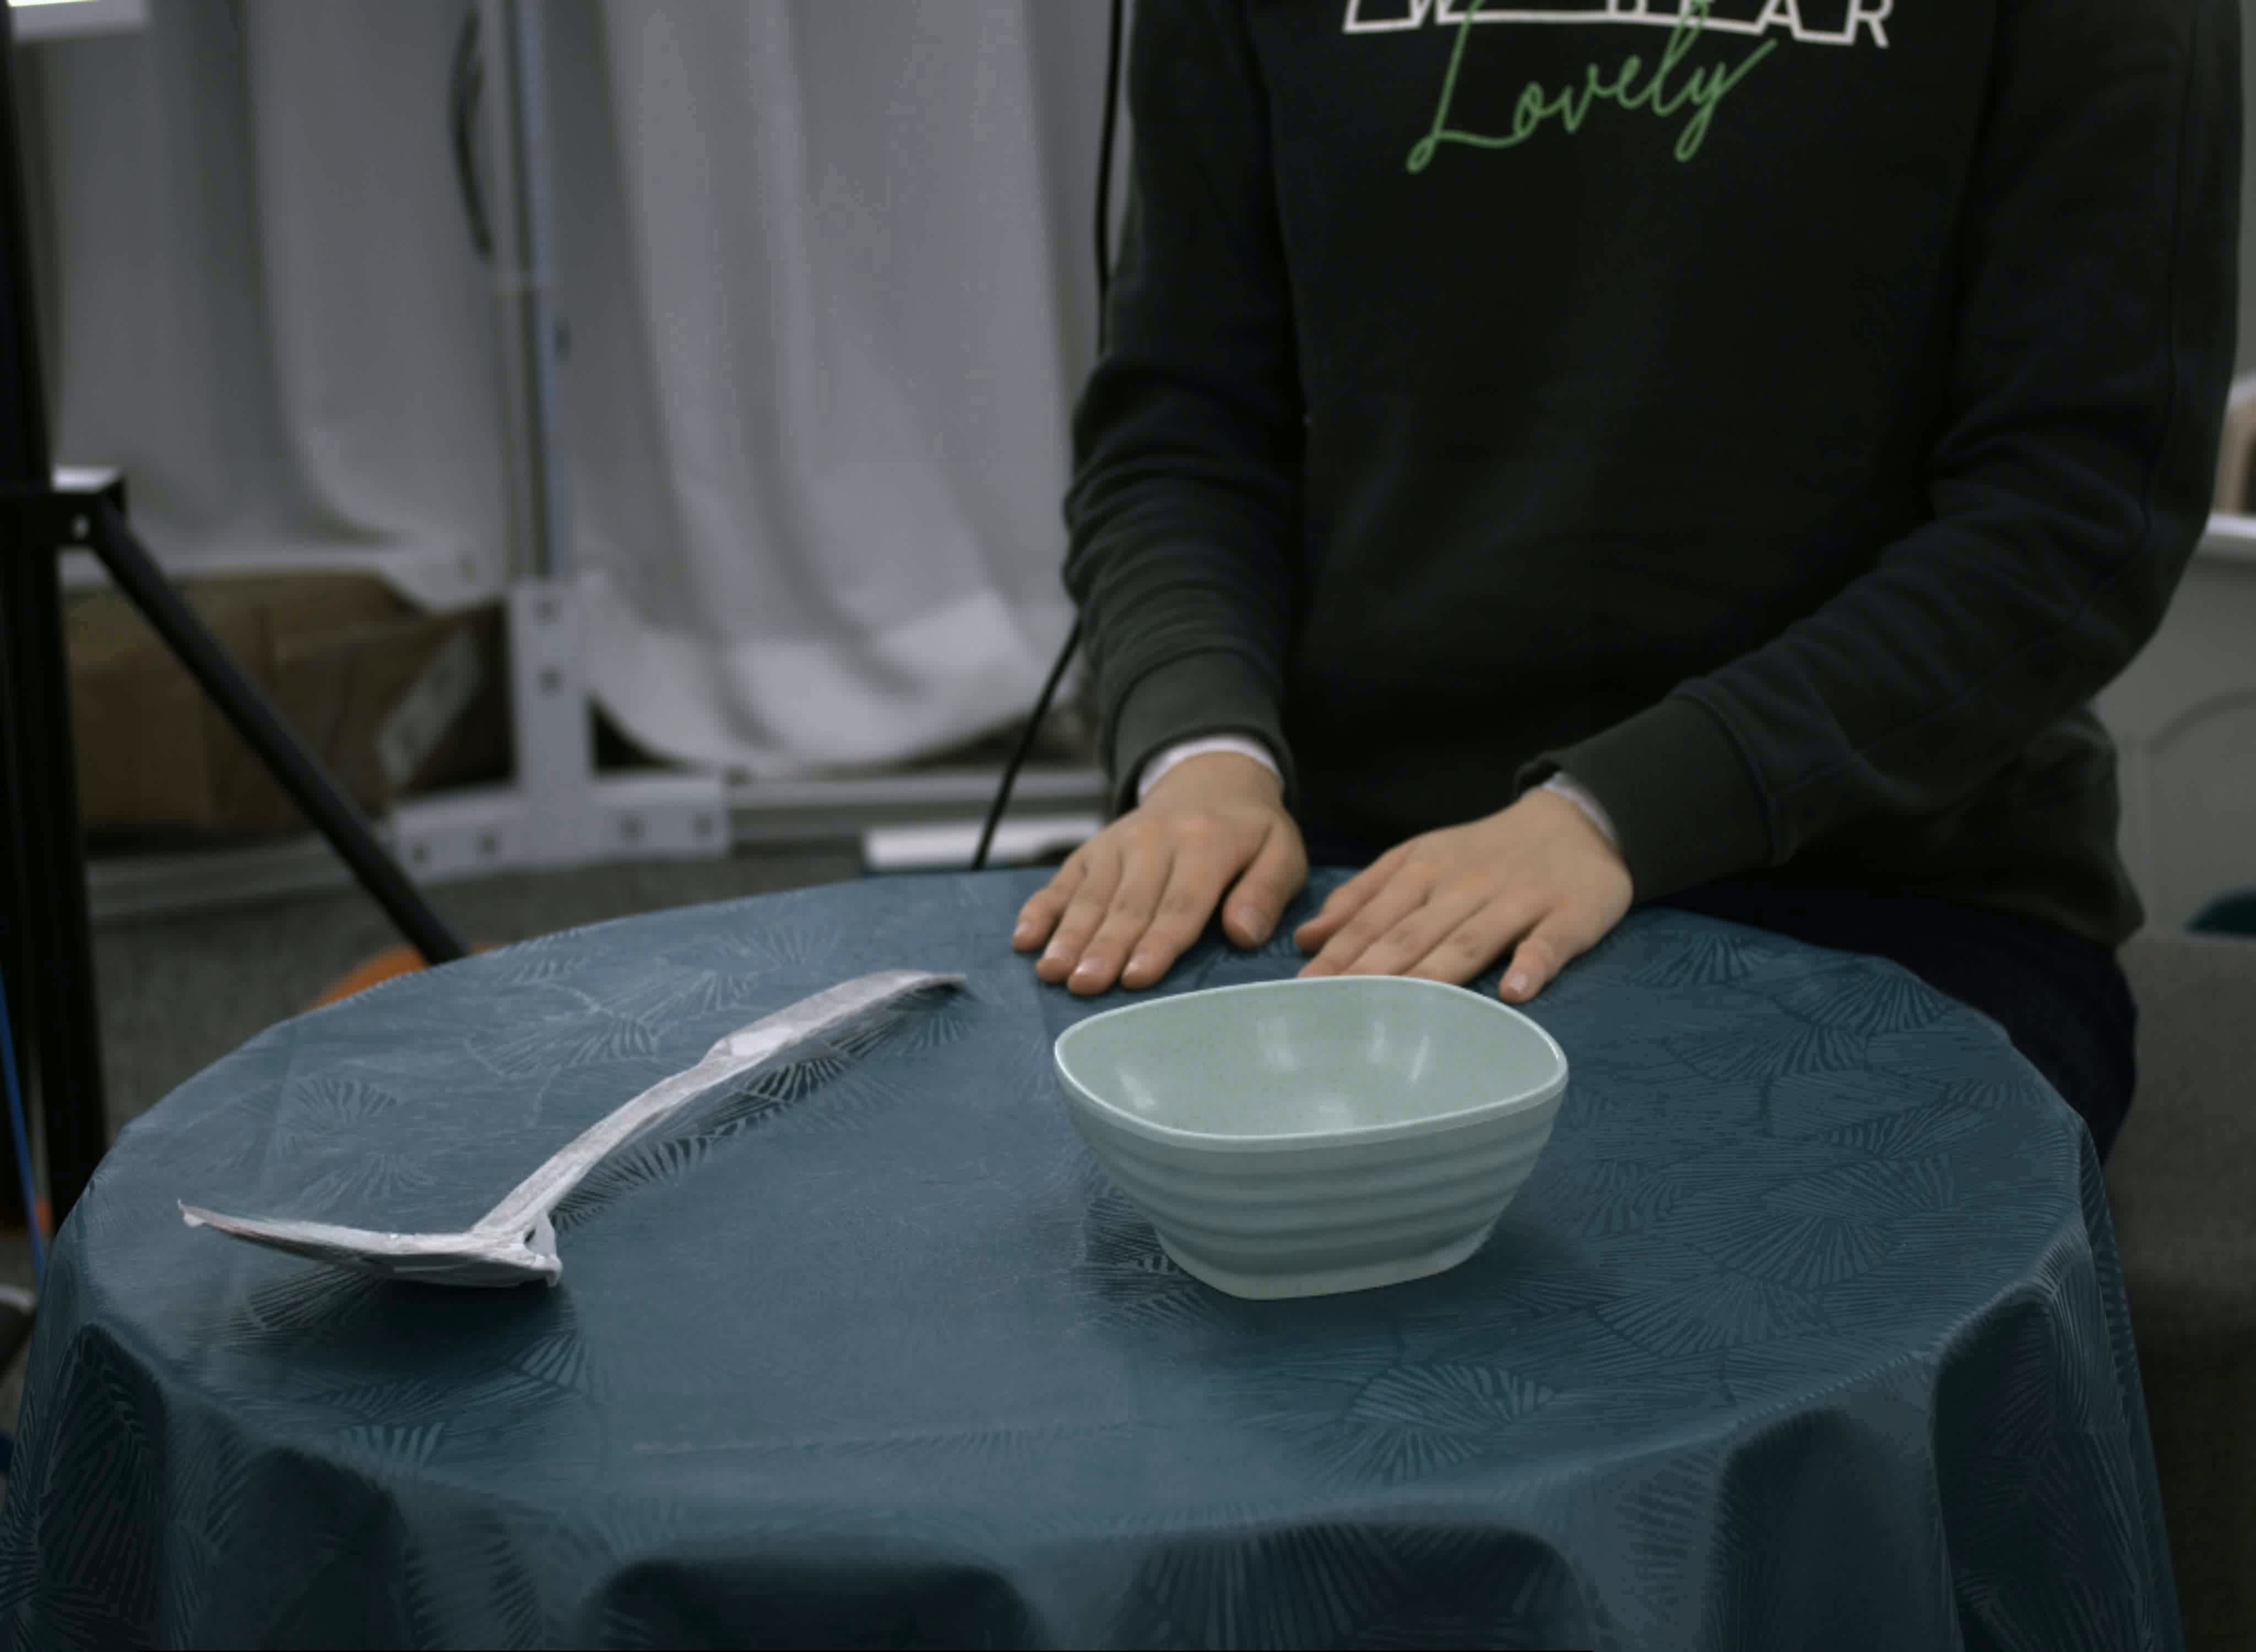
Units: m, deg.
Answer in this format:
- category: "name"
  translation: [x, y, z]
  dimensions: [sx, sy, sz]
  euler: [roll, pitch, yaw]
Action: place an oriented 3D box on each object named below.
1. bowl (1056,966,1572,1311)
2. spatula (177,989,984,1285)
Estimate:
- category: "bowl"
  translation: [0.053, 0.092, 1.504]
  dimensions: [0.151, 0.058, 0.152]
  euler: [-3, 18, 0]
- category: "spatula"
  translation: [-0.143, 0.083, 1.599]
  dimensions: [0.100, 0.045, 0.359]
  euler: [4, 17, 29]
